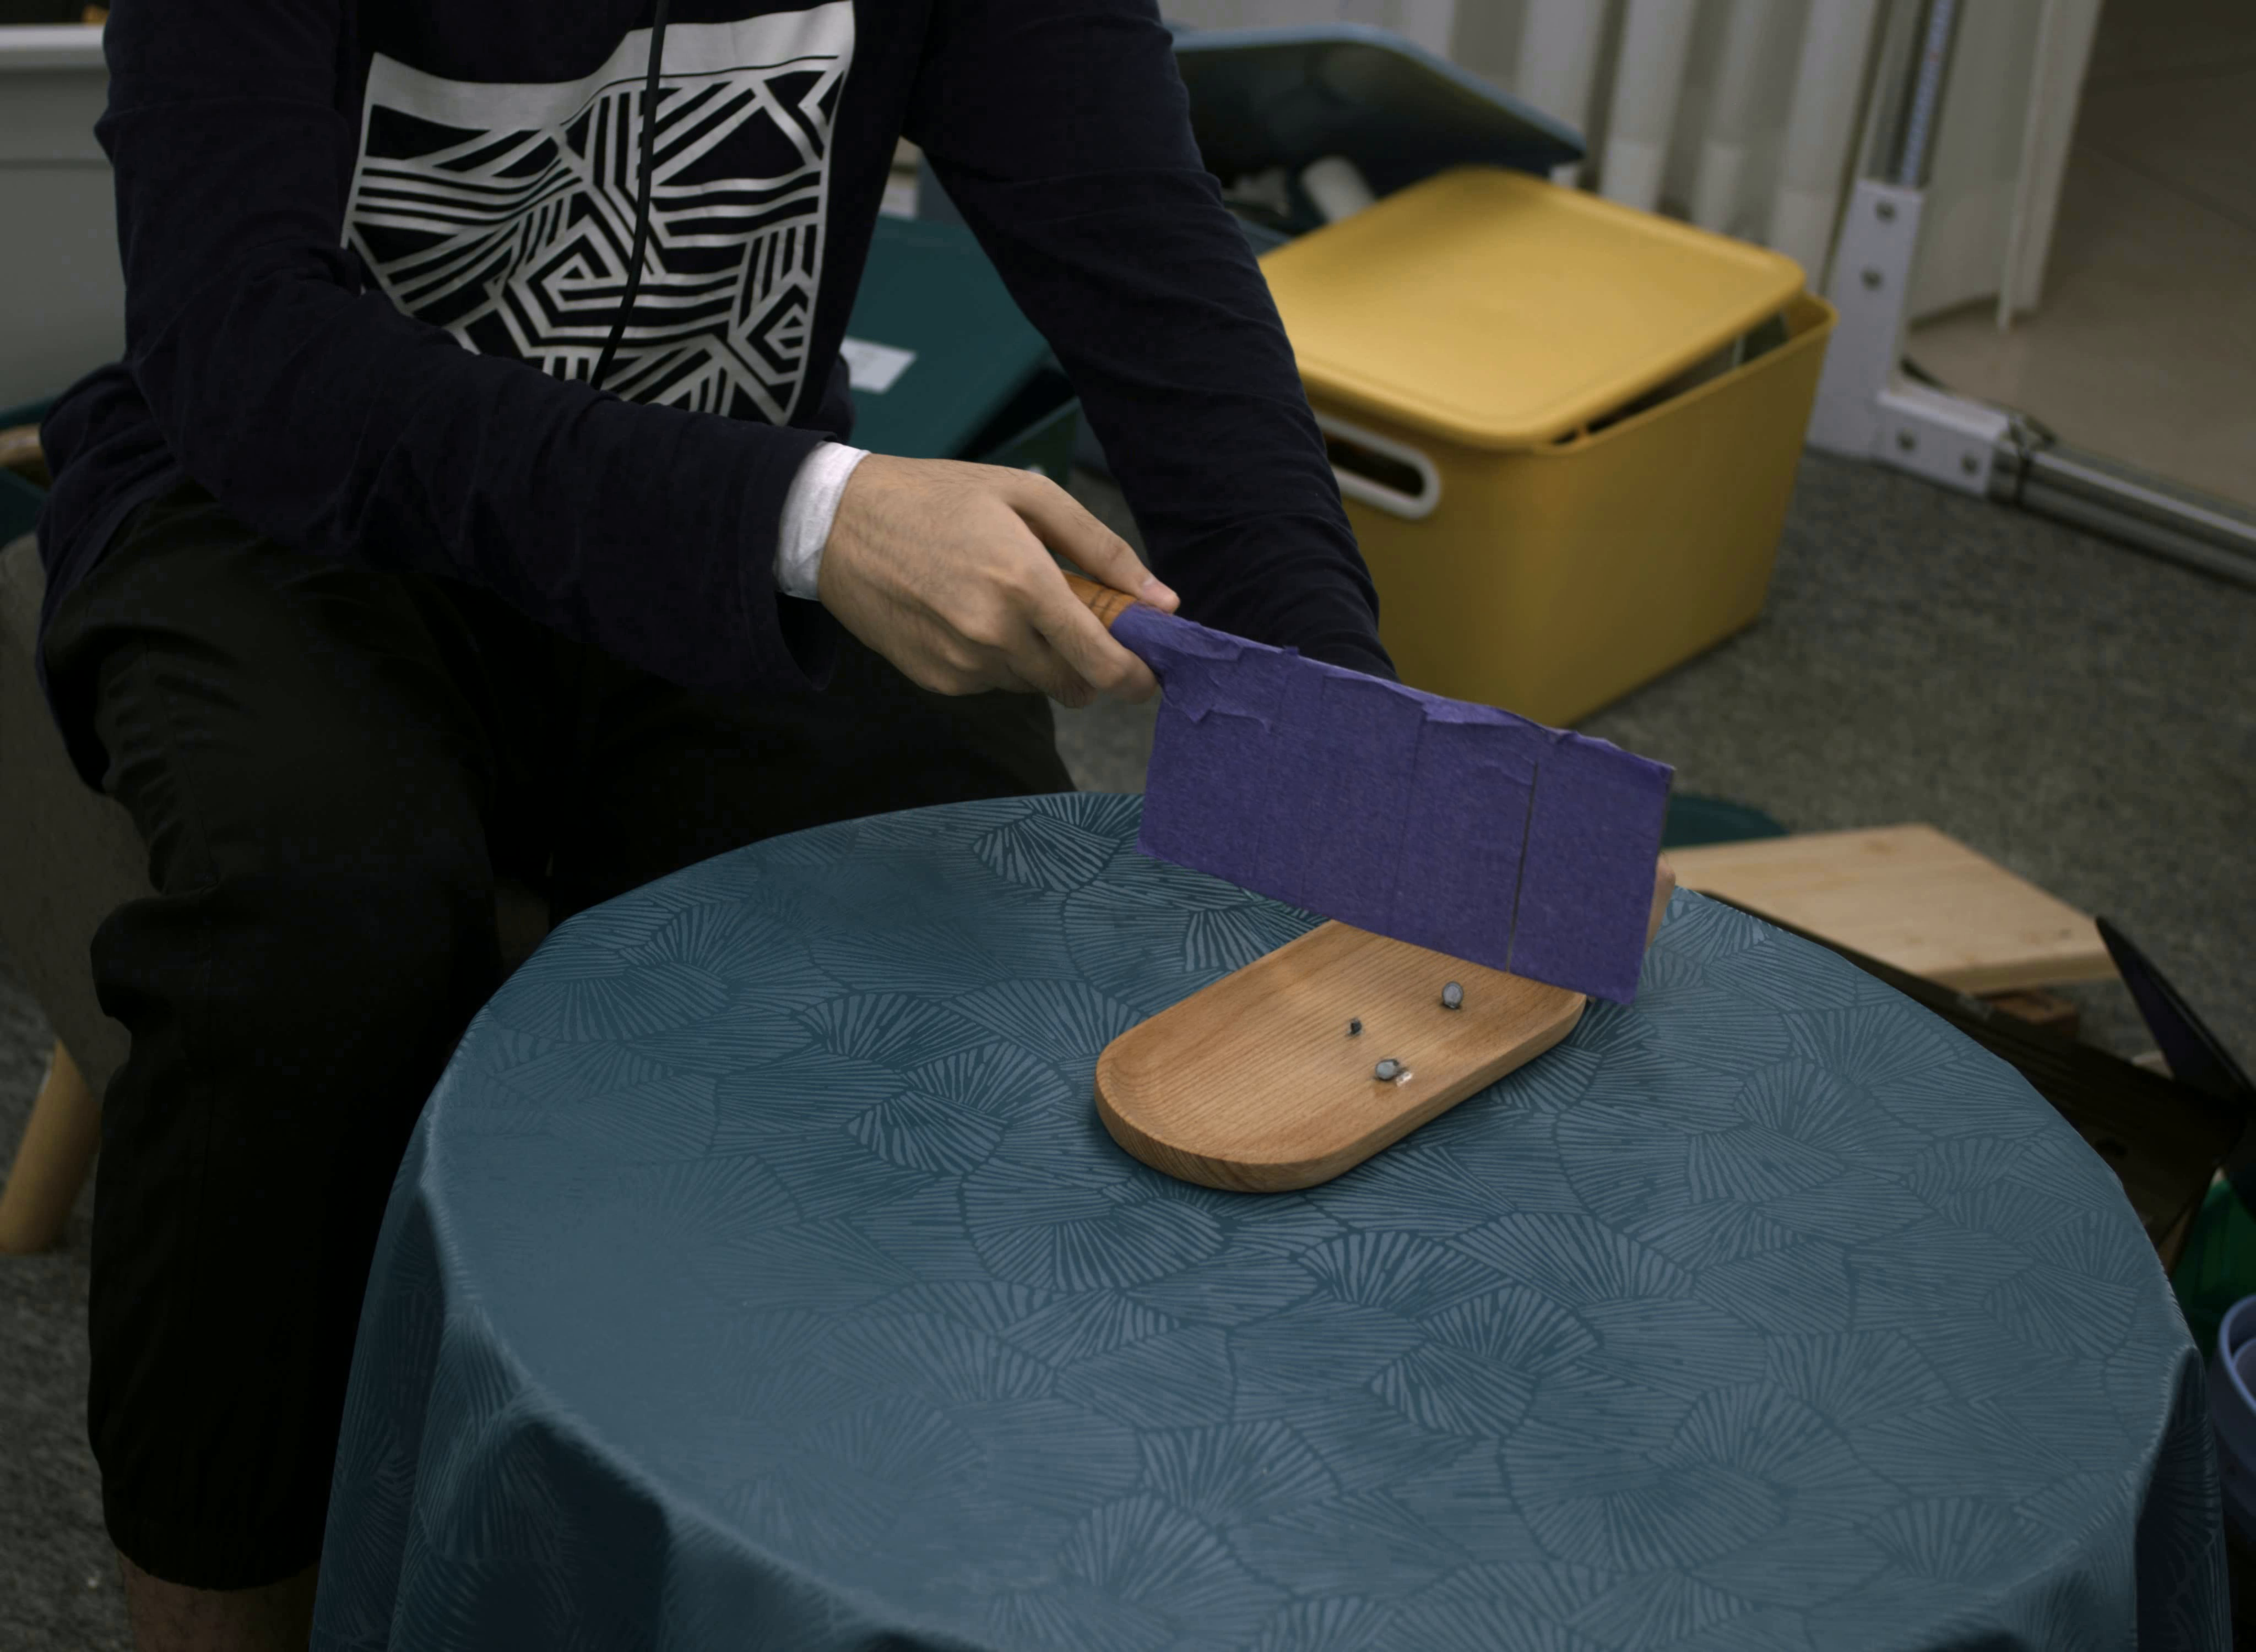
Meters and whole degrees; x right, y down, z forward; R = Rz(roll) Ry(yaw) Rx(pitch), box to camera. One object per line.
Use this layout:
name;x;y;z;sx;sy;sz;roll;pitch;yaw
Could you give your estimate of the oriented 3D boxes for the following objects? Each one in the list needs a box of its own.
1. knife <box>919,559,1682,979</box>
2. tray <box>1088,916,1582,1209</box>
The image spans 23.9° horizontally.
knife;0.053;-0.019;1.919;0.317;0.104;0.032;17;14;31
tray;0.076;0.080;1.895;0.102;0.020;0.230;21;34;32
